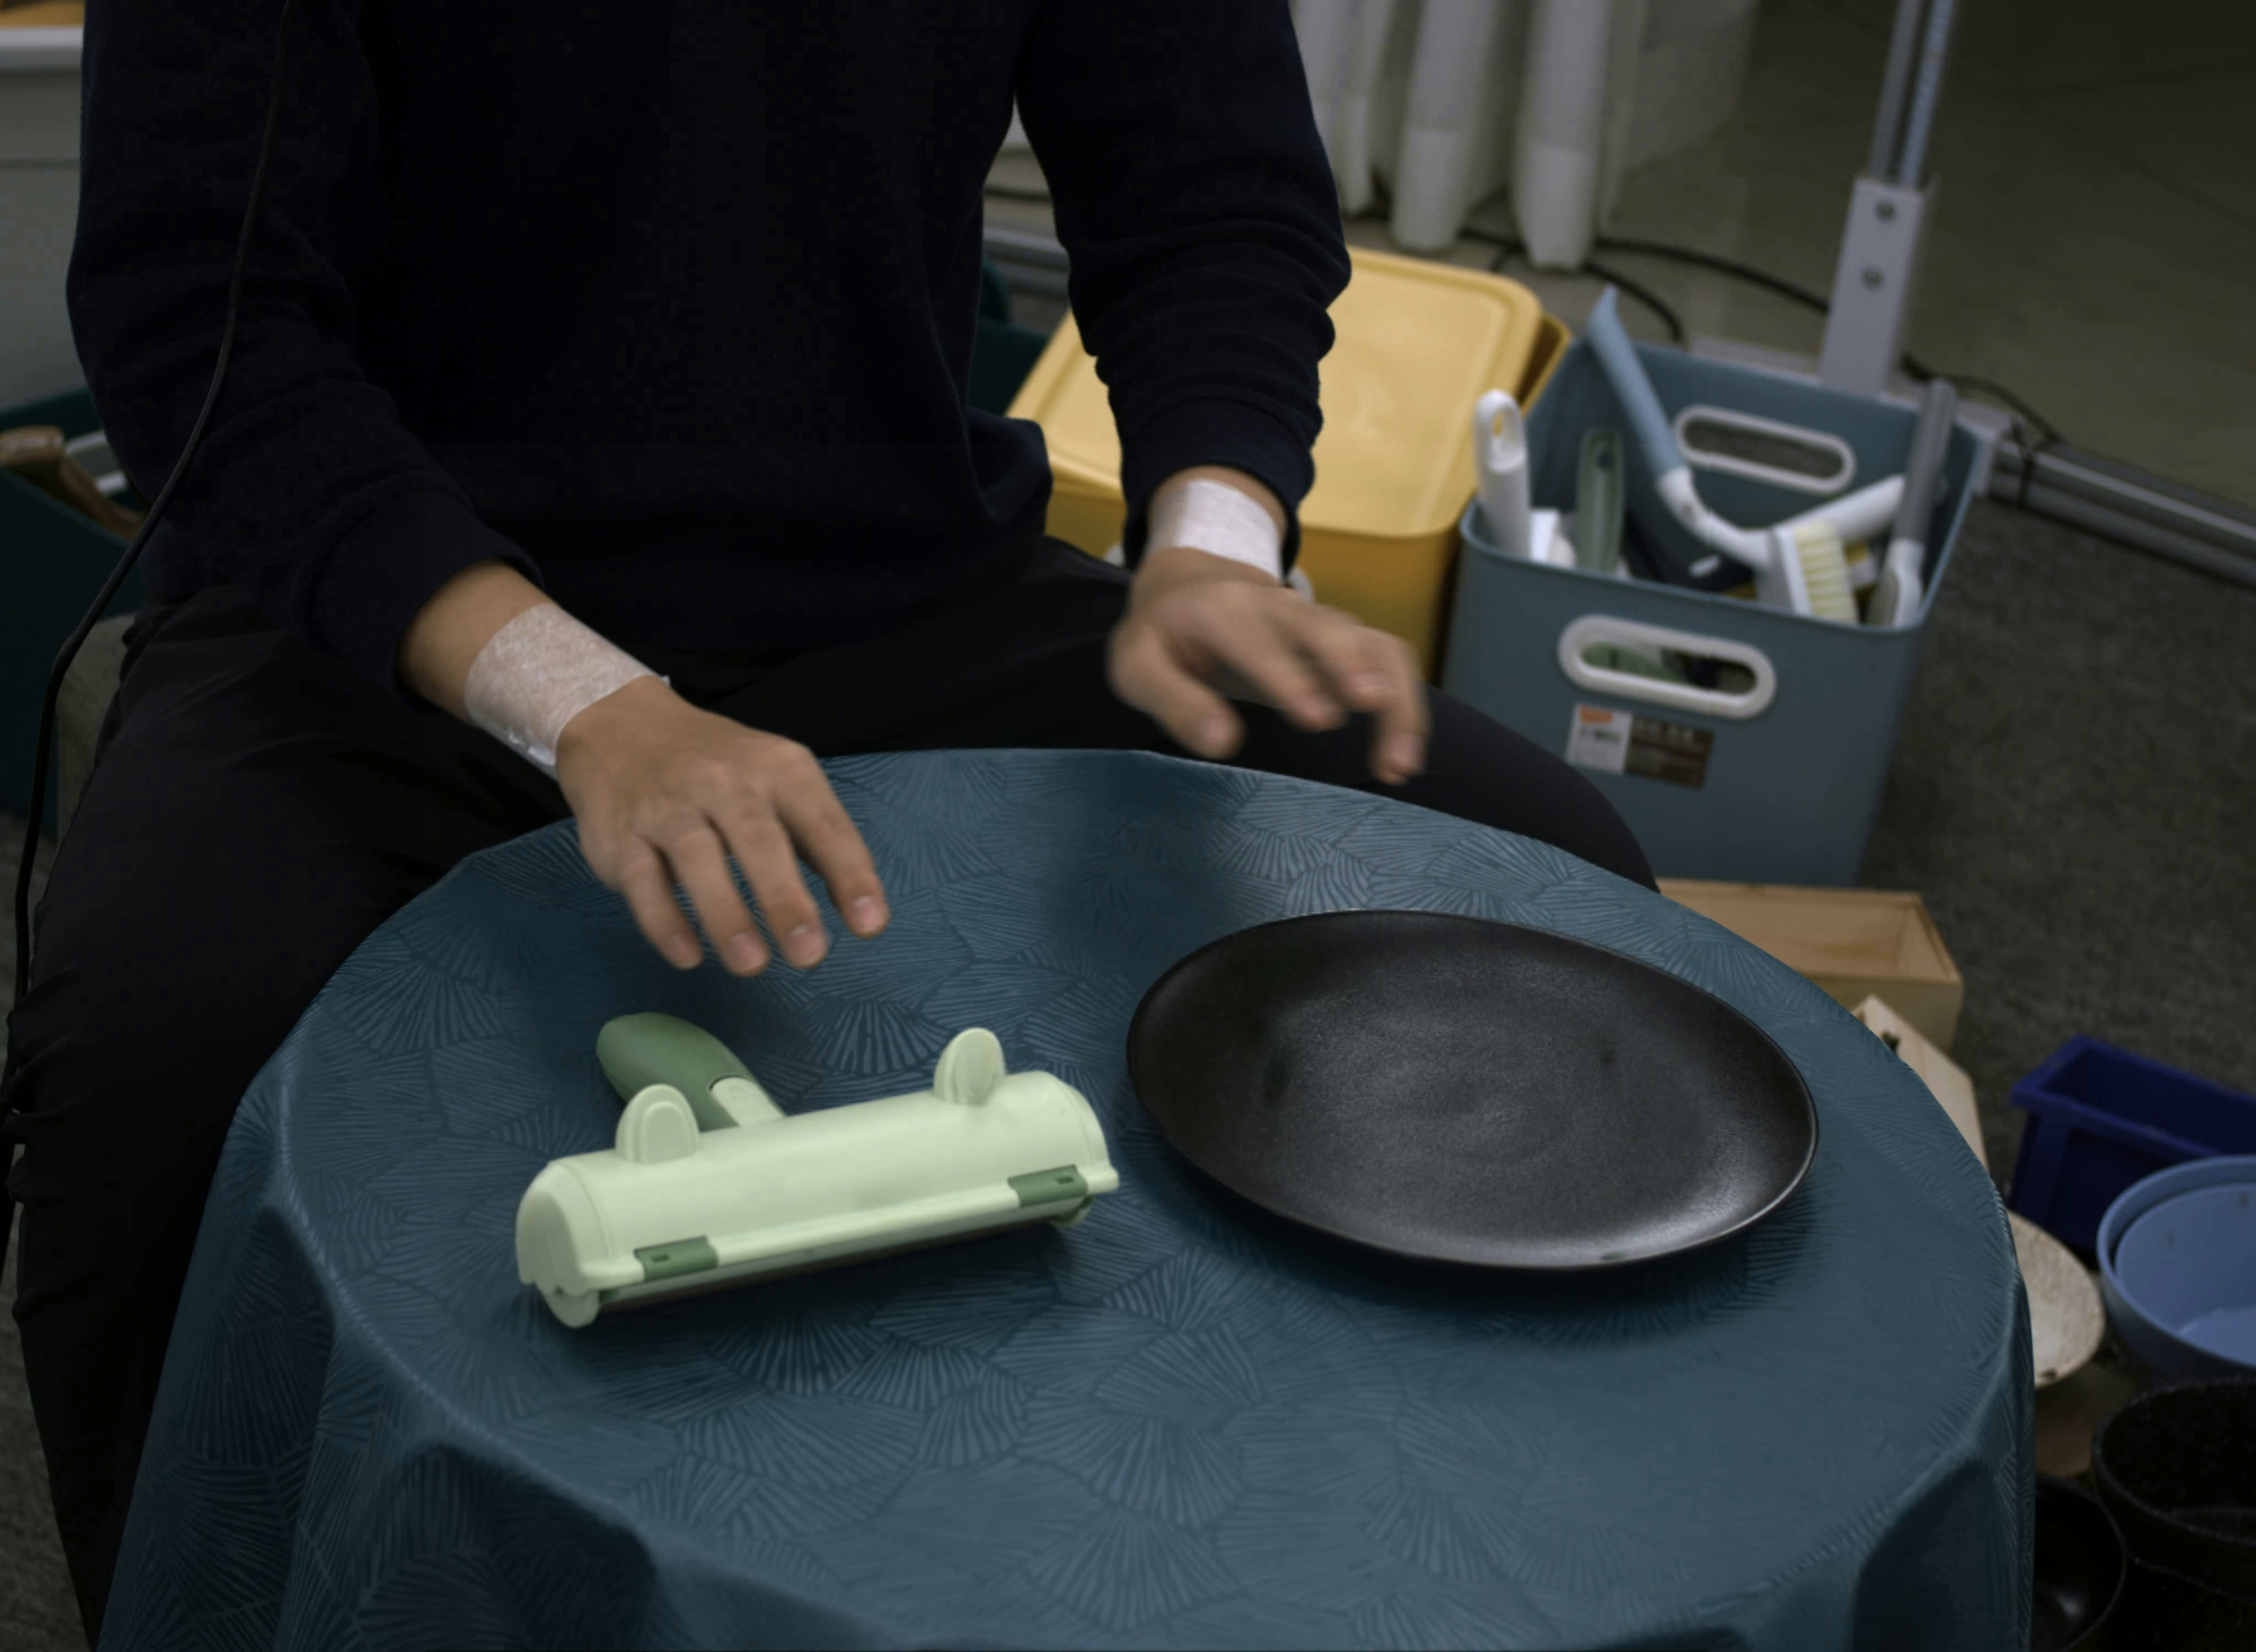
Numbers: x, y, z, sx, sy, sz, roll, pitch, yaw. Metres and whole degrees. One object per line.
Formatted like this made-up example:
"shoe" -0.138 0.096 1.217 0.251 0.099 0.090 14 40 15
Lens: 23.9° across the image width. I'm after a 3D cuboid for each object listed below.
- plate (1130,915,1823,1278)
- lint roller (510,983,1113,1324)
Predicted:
"plate" 0.120 0.097 1.855 0.243 0.023 0.246 5 27 -3
"lint roller" -0.128 0.083 1.758 0.197 0.082 0.185 -9 37 -30
